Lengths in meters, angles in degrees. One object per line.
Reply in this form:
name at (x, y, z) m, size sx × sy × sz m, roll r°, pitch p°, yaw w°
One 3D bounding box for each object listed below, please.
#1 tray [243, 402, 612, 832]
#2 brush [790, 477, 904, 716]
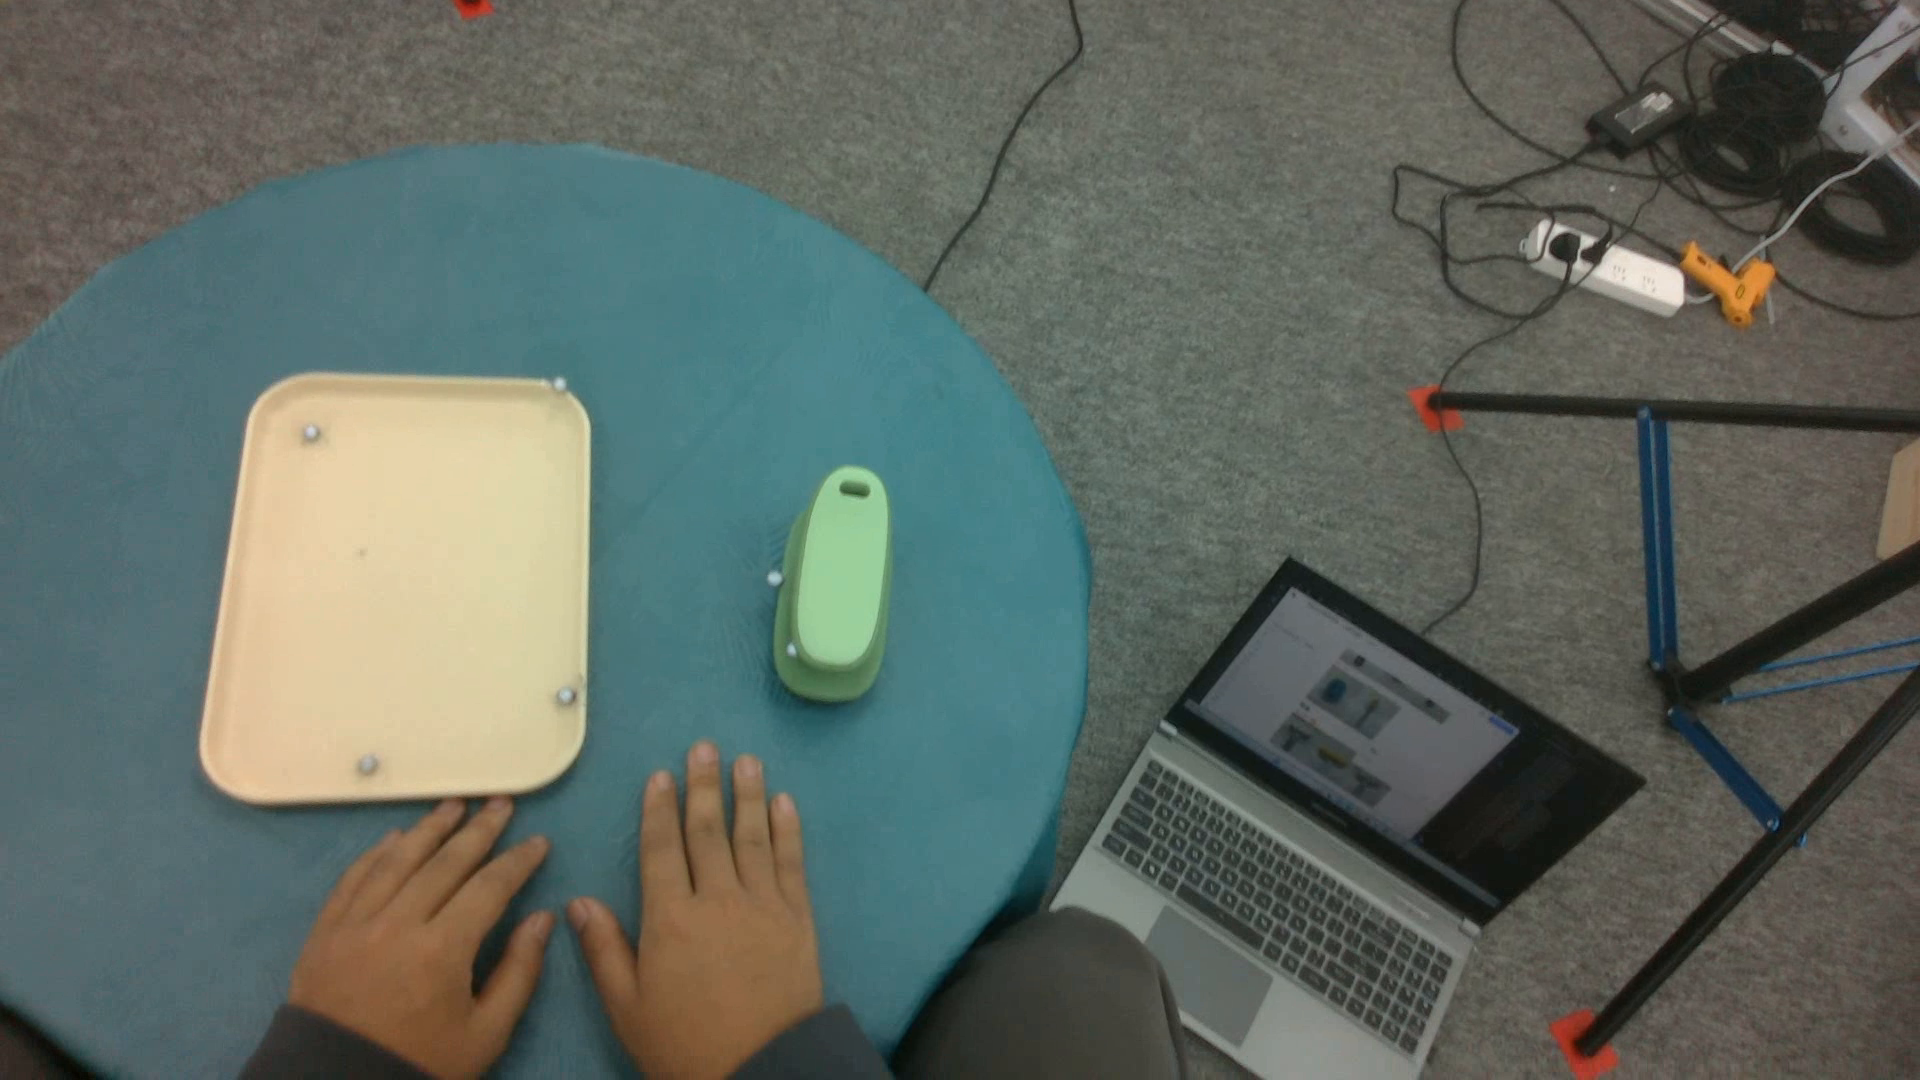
tray at (-0.271, 0.032, 0.718) m, size 0.171 × 0.017 × 0.240 m, roll -2°, pitch 62°, yaw -13°
brush at (-0.060, 0.034, 0.743) m, size 0.059 × 0.075 × 0.123 m, roll 6°, pitch 74°, yaw -8°
